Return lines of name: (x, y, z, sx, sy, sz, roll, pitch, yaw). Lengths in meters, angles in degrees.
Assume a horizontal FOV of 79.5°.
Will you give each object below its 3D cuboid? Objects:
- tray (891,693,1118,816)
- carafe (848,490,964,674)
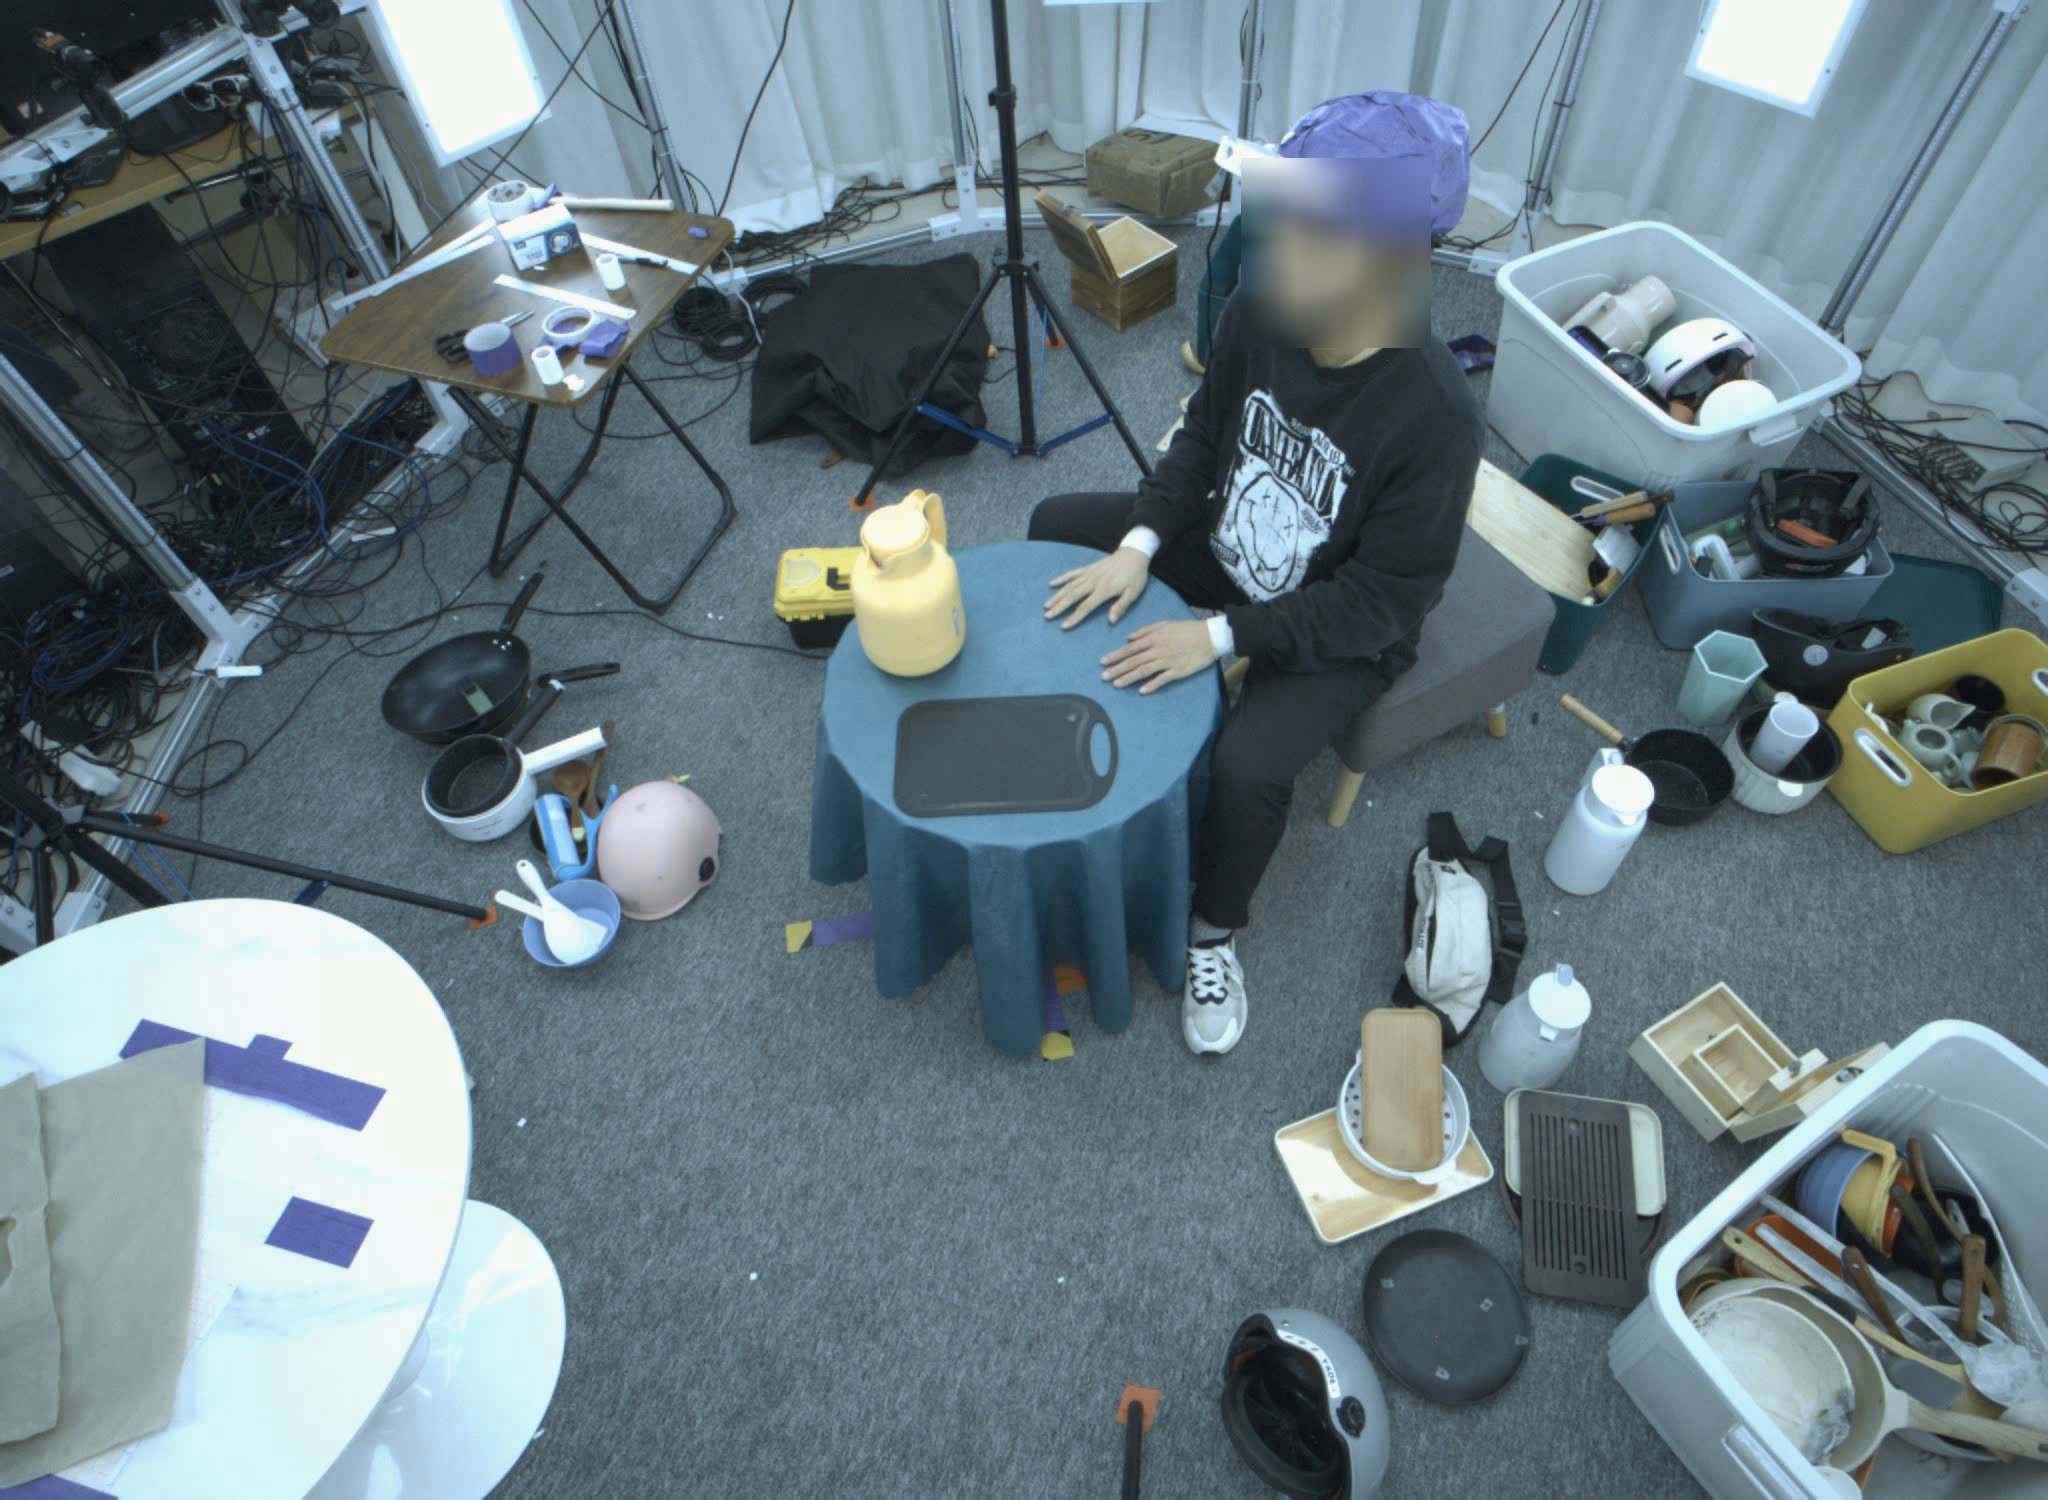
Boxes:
tray: (-0.027, 0.002, 1.778, 0.325, 0.010, 0.209, -2, 55, 0)
carafe: (-0.169, -0.255, 1.809, 0.162, 0.263, 0.202, 20, 59, 15)
